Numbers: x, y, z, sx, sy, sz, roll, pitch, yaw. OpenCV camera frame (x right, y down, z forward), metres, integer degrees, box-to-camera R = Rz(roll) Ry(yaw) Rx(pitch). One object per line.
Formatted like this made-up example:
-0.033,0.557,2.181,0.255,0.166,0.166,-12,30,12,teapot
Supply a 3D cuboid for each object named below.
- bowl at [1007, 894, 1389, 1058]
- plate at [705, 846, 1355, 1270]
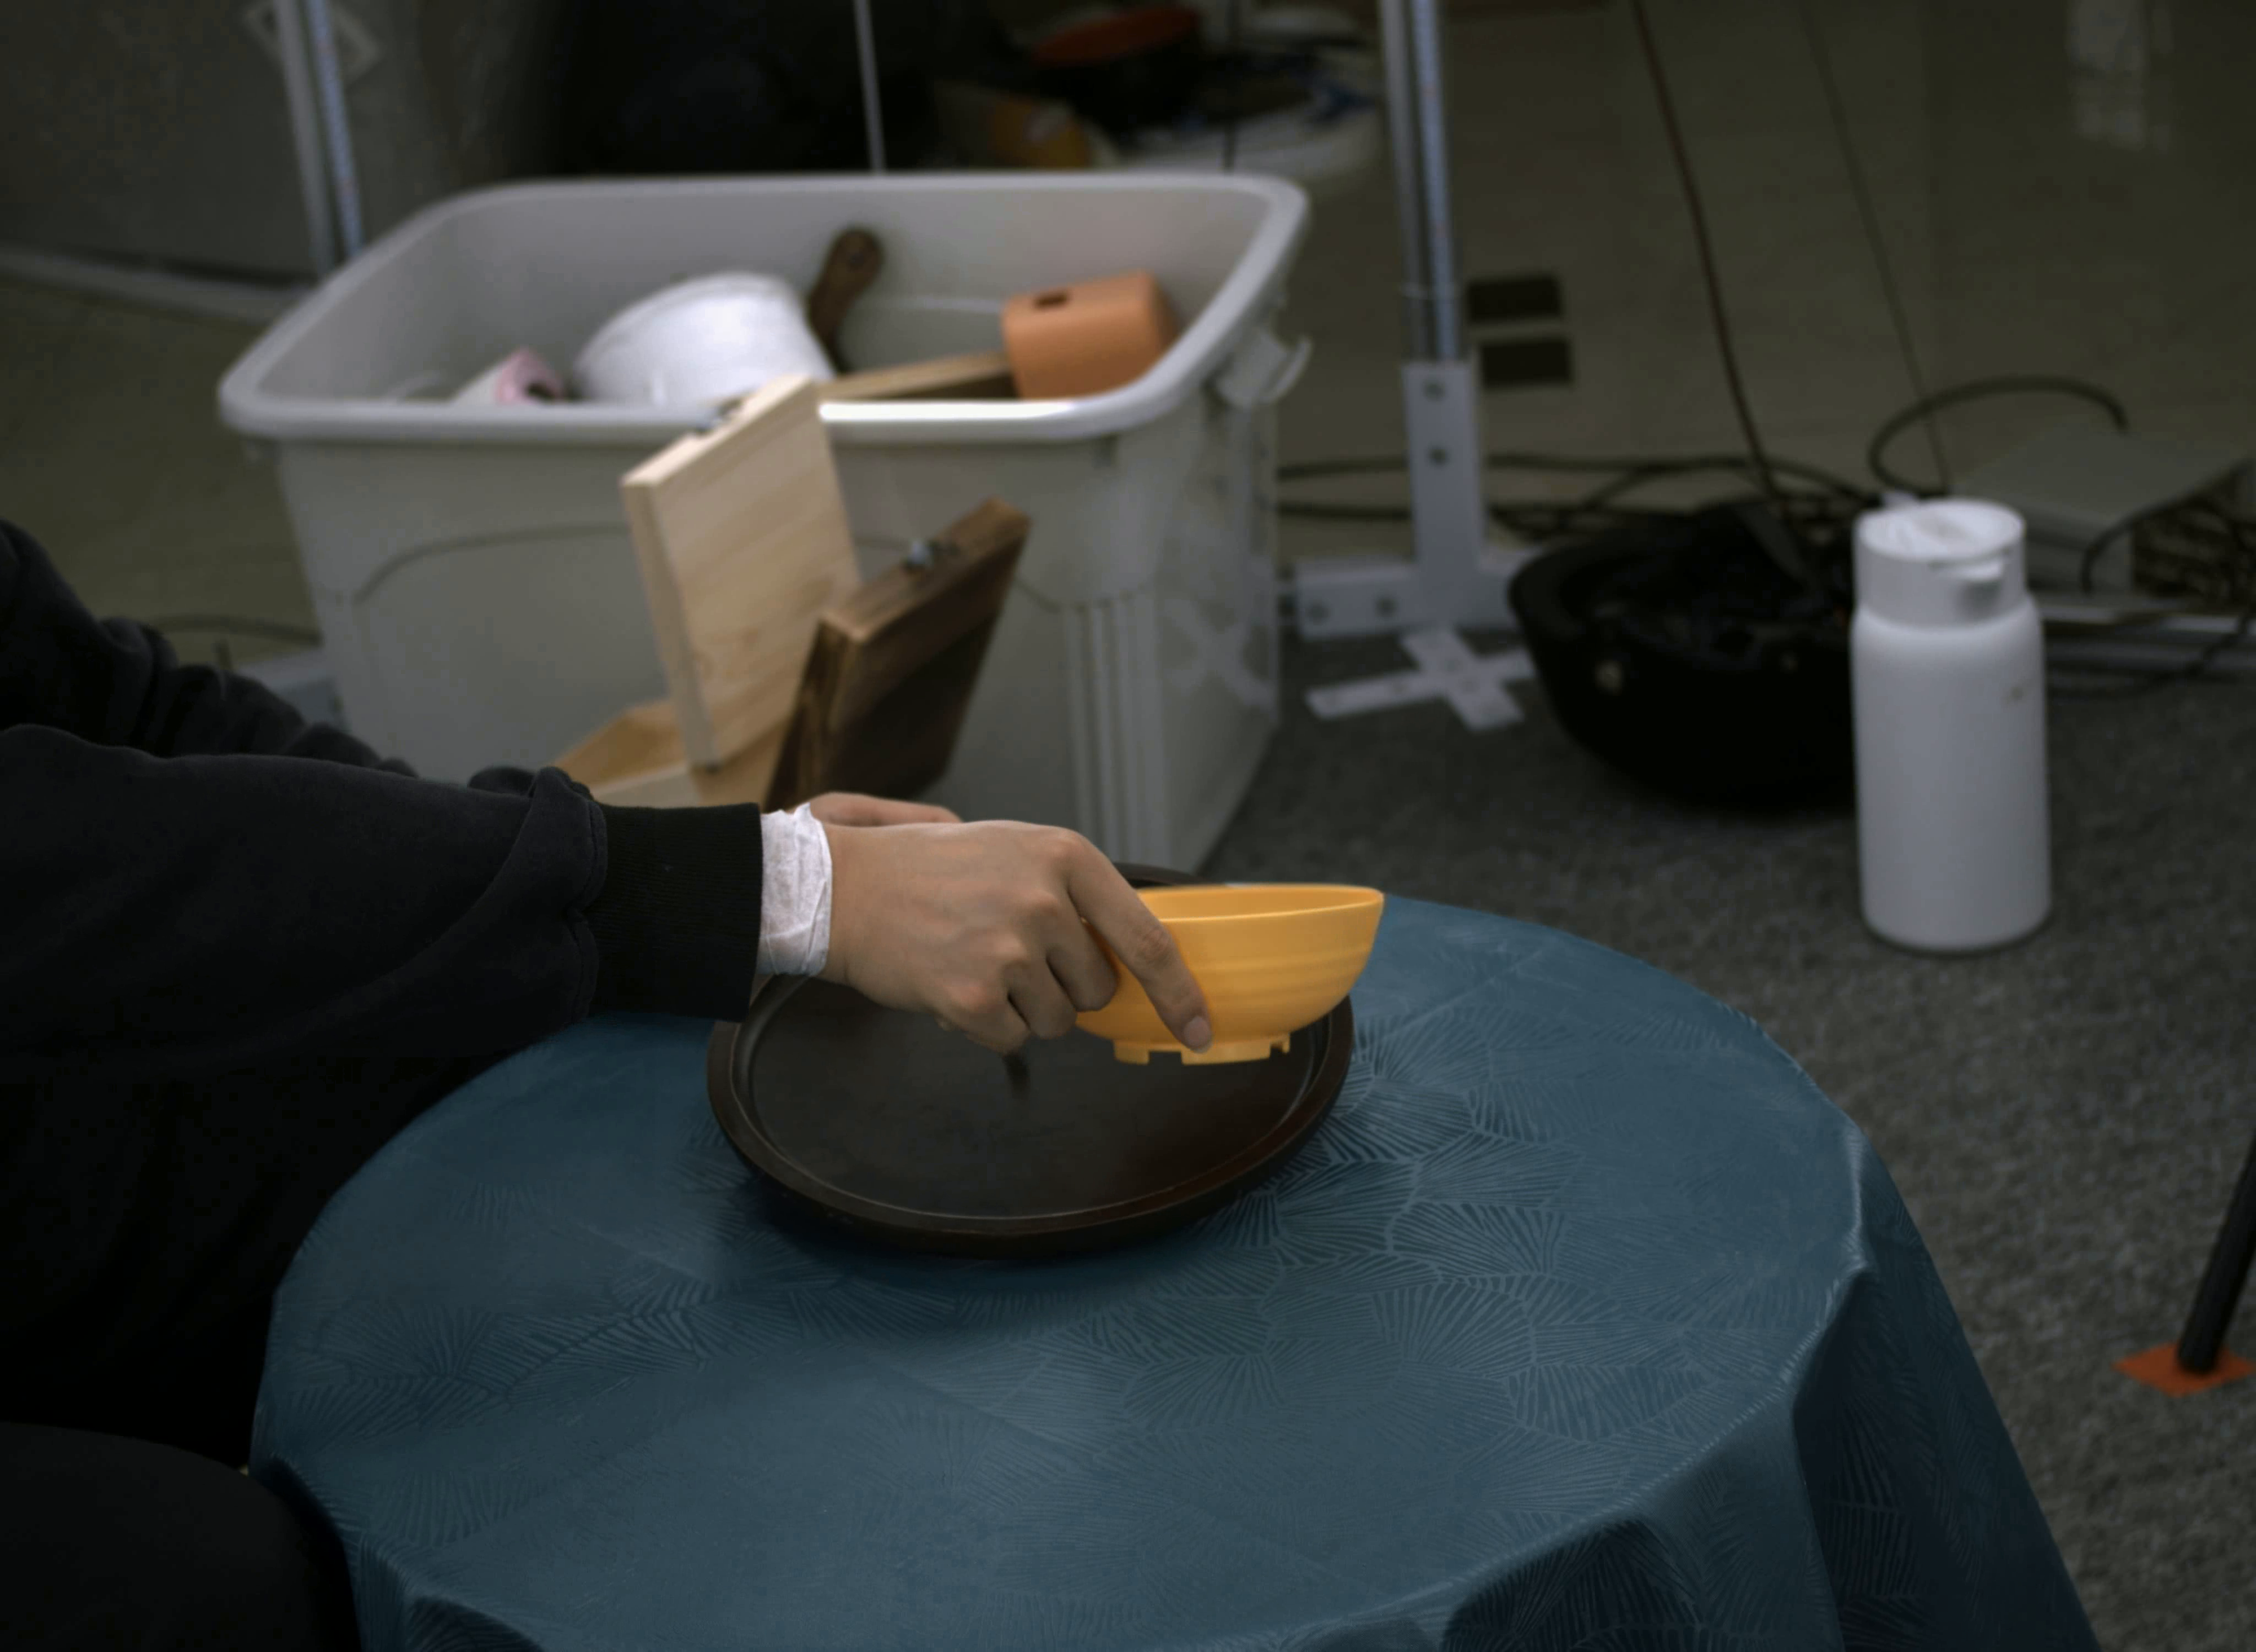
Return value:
0.027,0.057,2.139,0.145,0.060,0.145,-1,1,0,bowl
-0.037,0.091,2.200,0.254,0.029,0.250,-4,35,3,plate
